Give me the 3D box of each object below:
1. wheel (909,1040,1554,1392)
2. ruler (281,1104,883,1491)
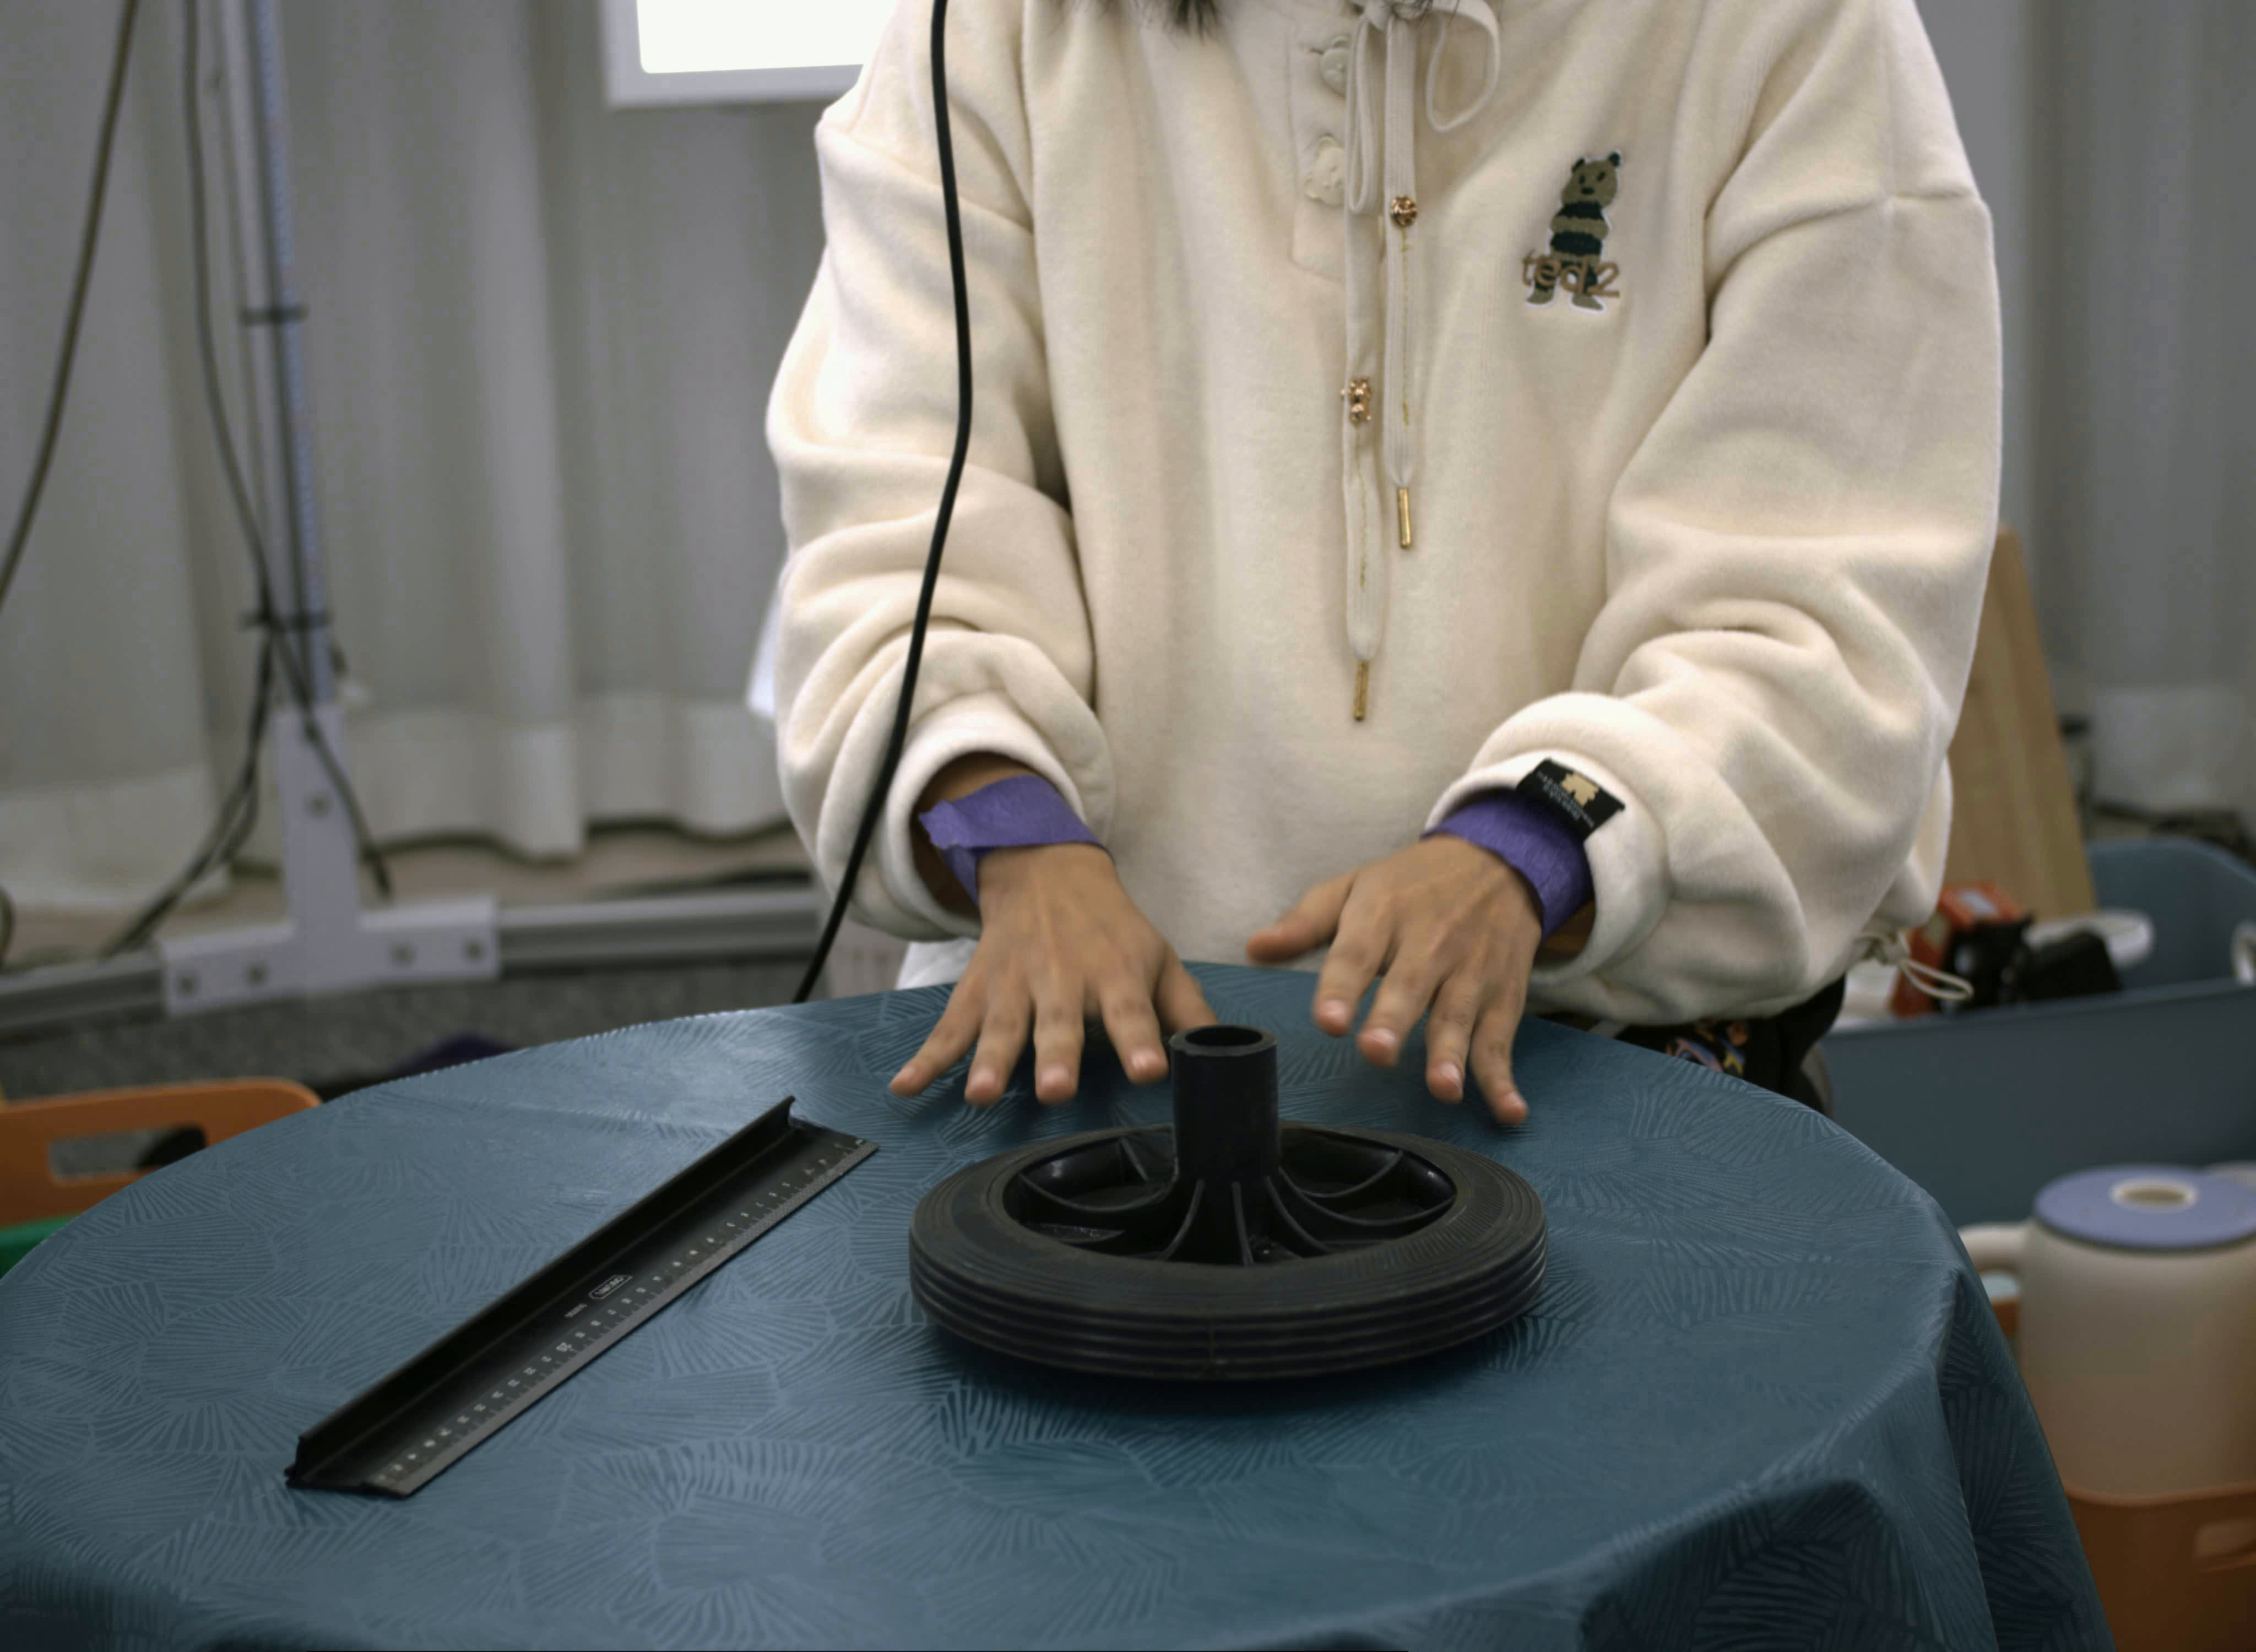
[{"bbox_3d":[0.030,0.105,1.598,0.191,0.079,0.187,10,18,39],"label":"wheel"},{"bbox_3d":[-0.156,0.136,1.633,0.039,0.017,0.313,8,17,22],"label":"ruler"}]
